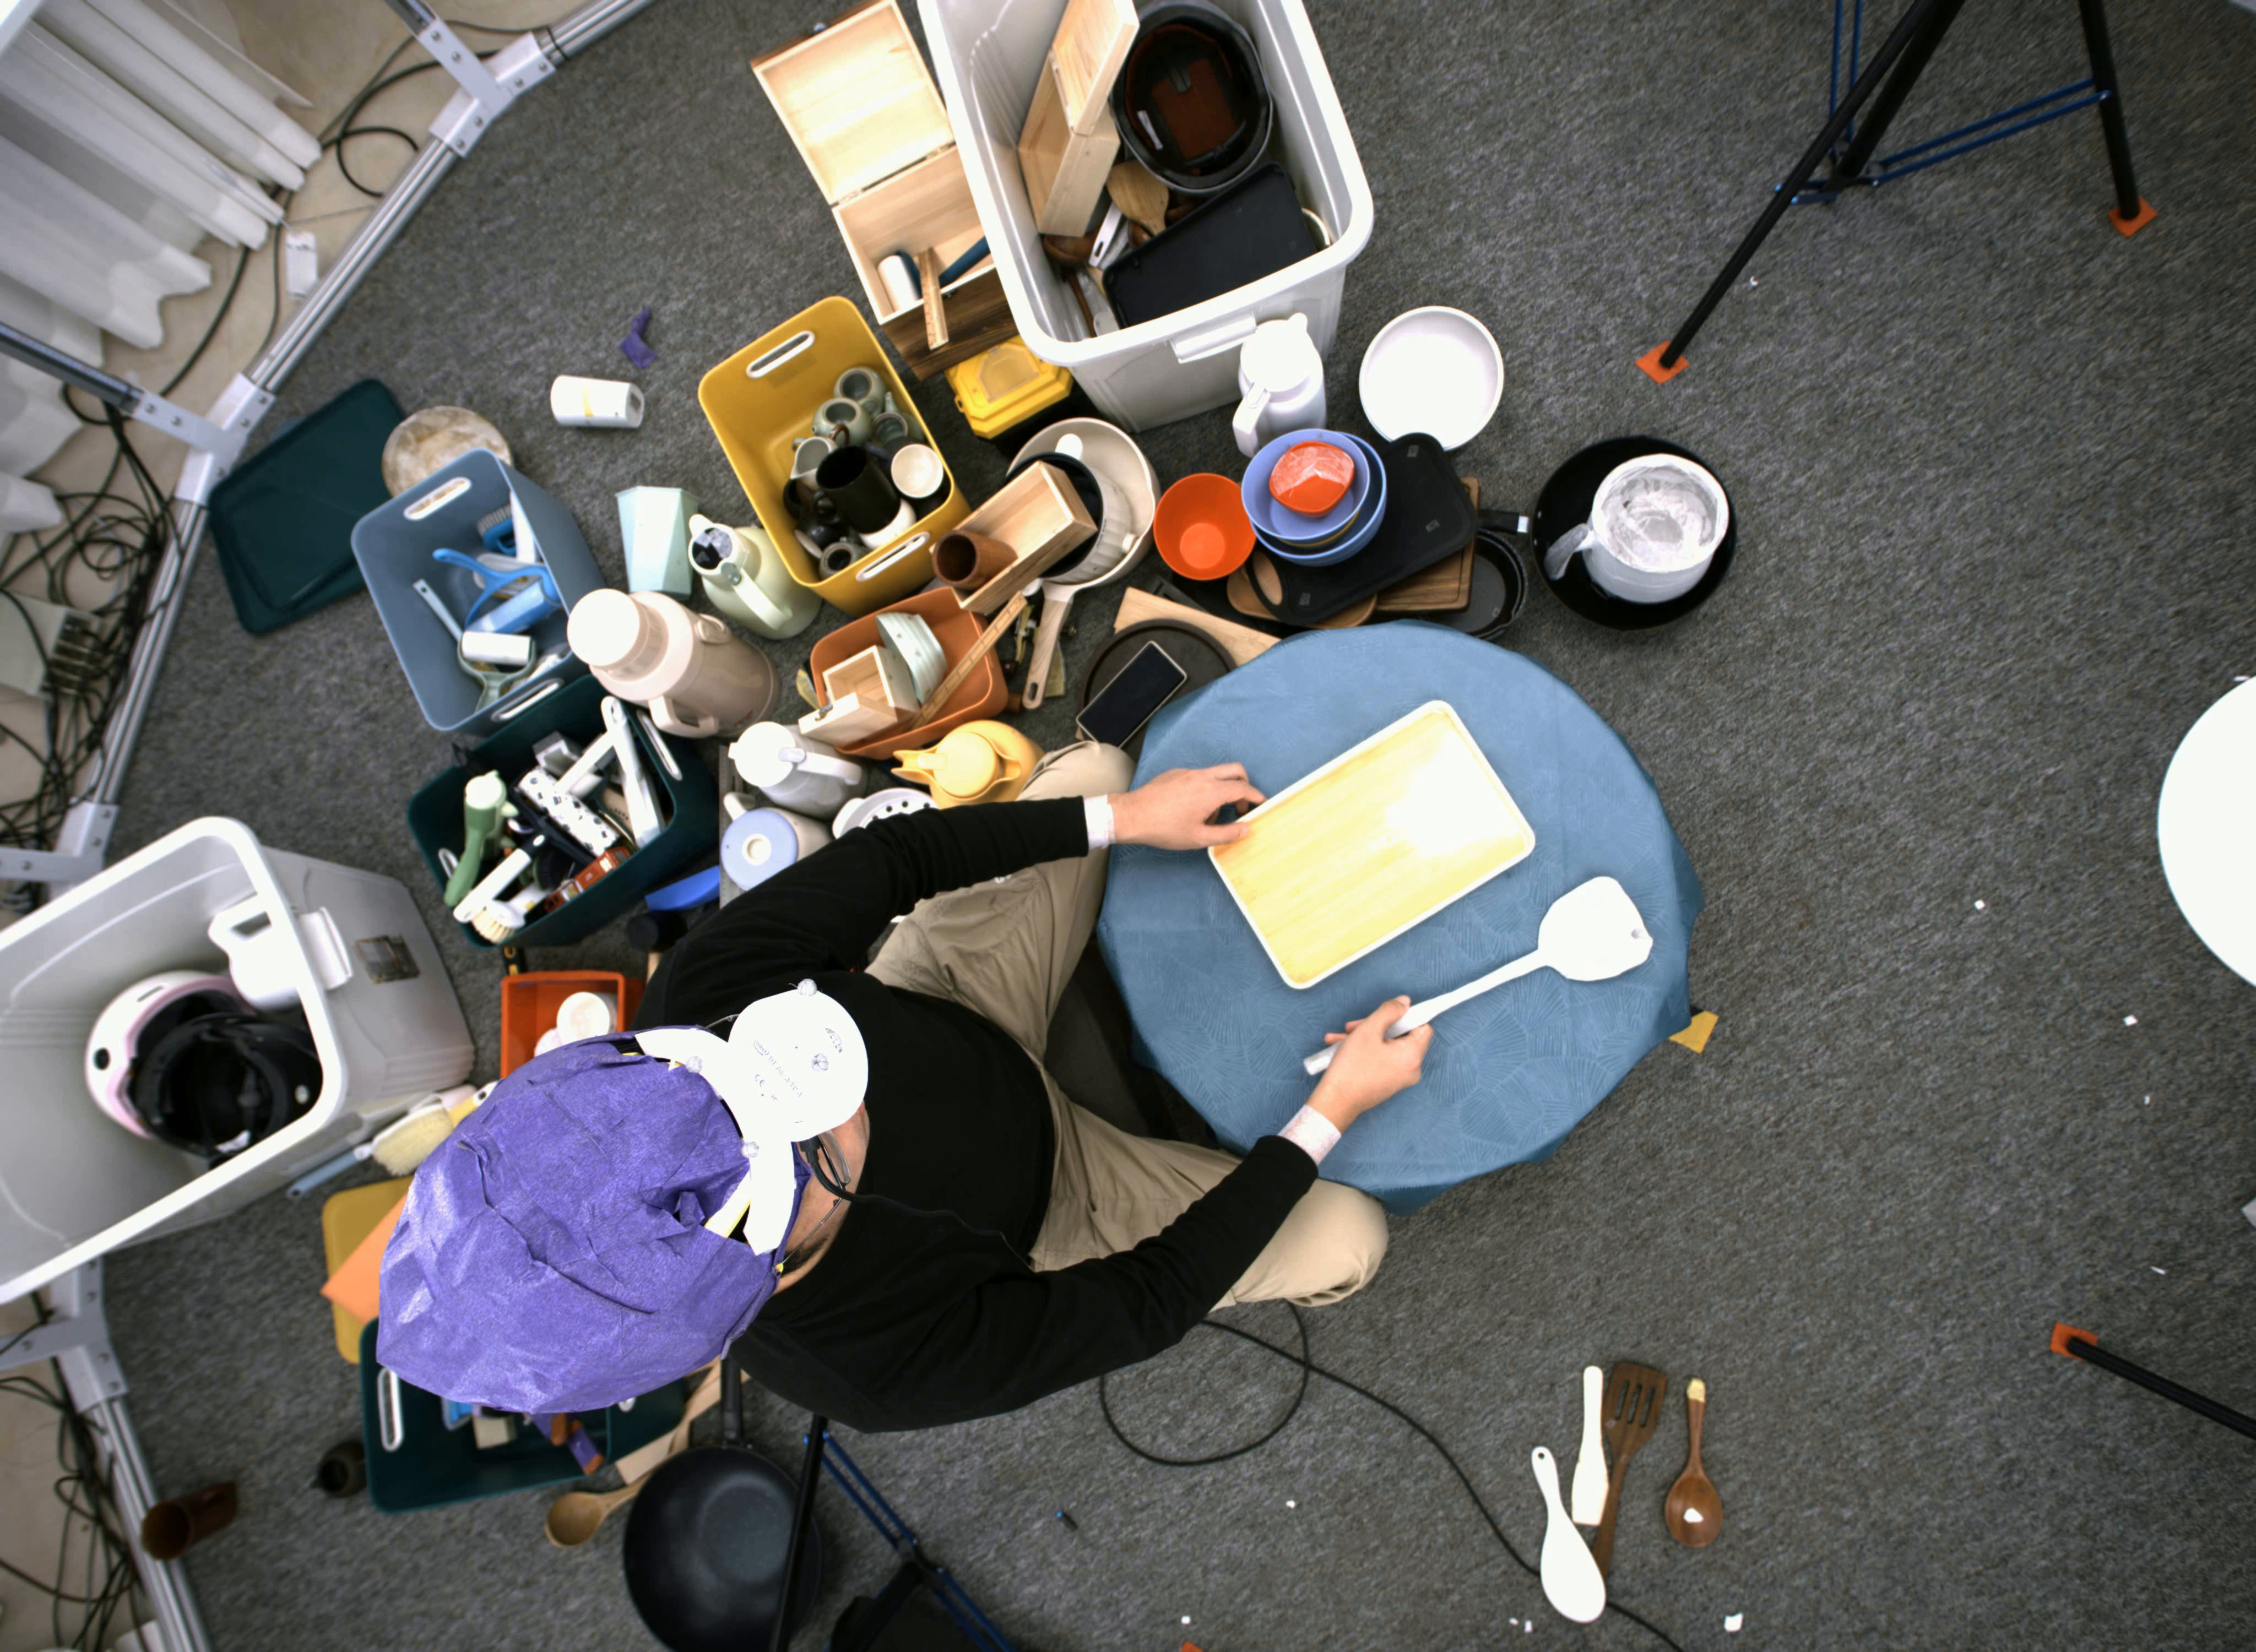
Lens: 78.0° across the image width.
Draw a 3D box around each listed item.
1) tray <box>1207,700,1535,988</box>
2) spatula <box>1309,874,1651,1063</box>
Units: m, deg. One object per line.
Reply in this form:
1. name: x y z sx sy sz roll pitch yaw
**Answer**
1. tray: 0.253 0.018 1.452 0.302 0.027 0.190 -32 82 7
2. spatula: 0.354 0.162 1.409 0.365 0.045 0.098 -25 78 2
